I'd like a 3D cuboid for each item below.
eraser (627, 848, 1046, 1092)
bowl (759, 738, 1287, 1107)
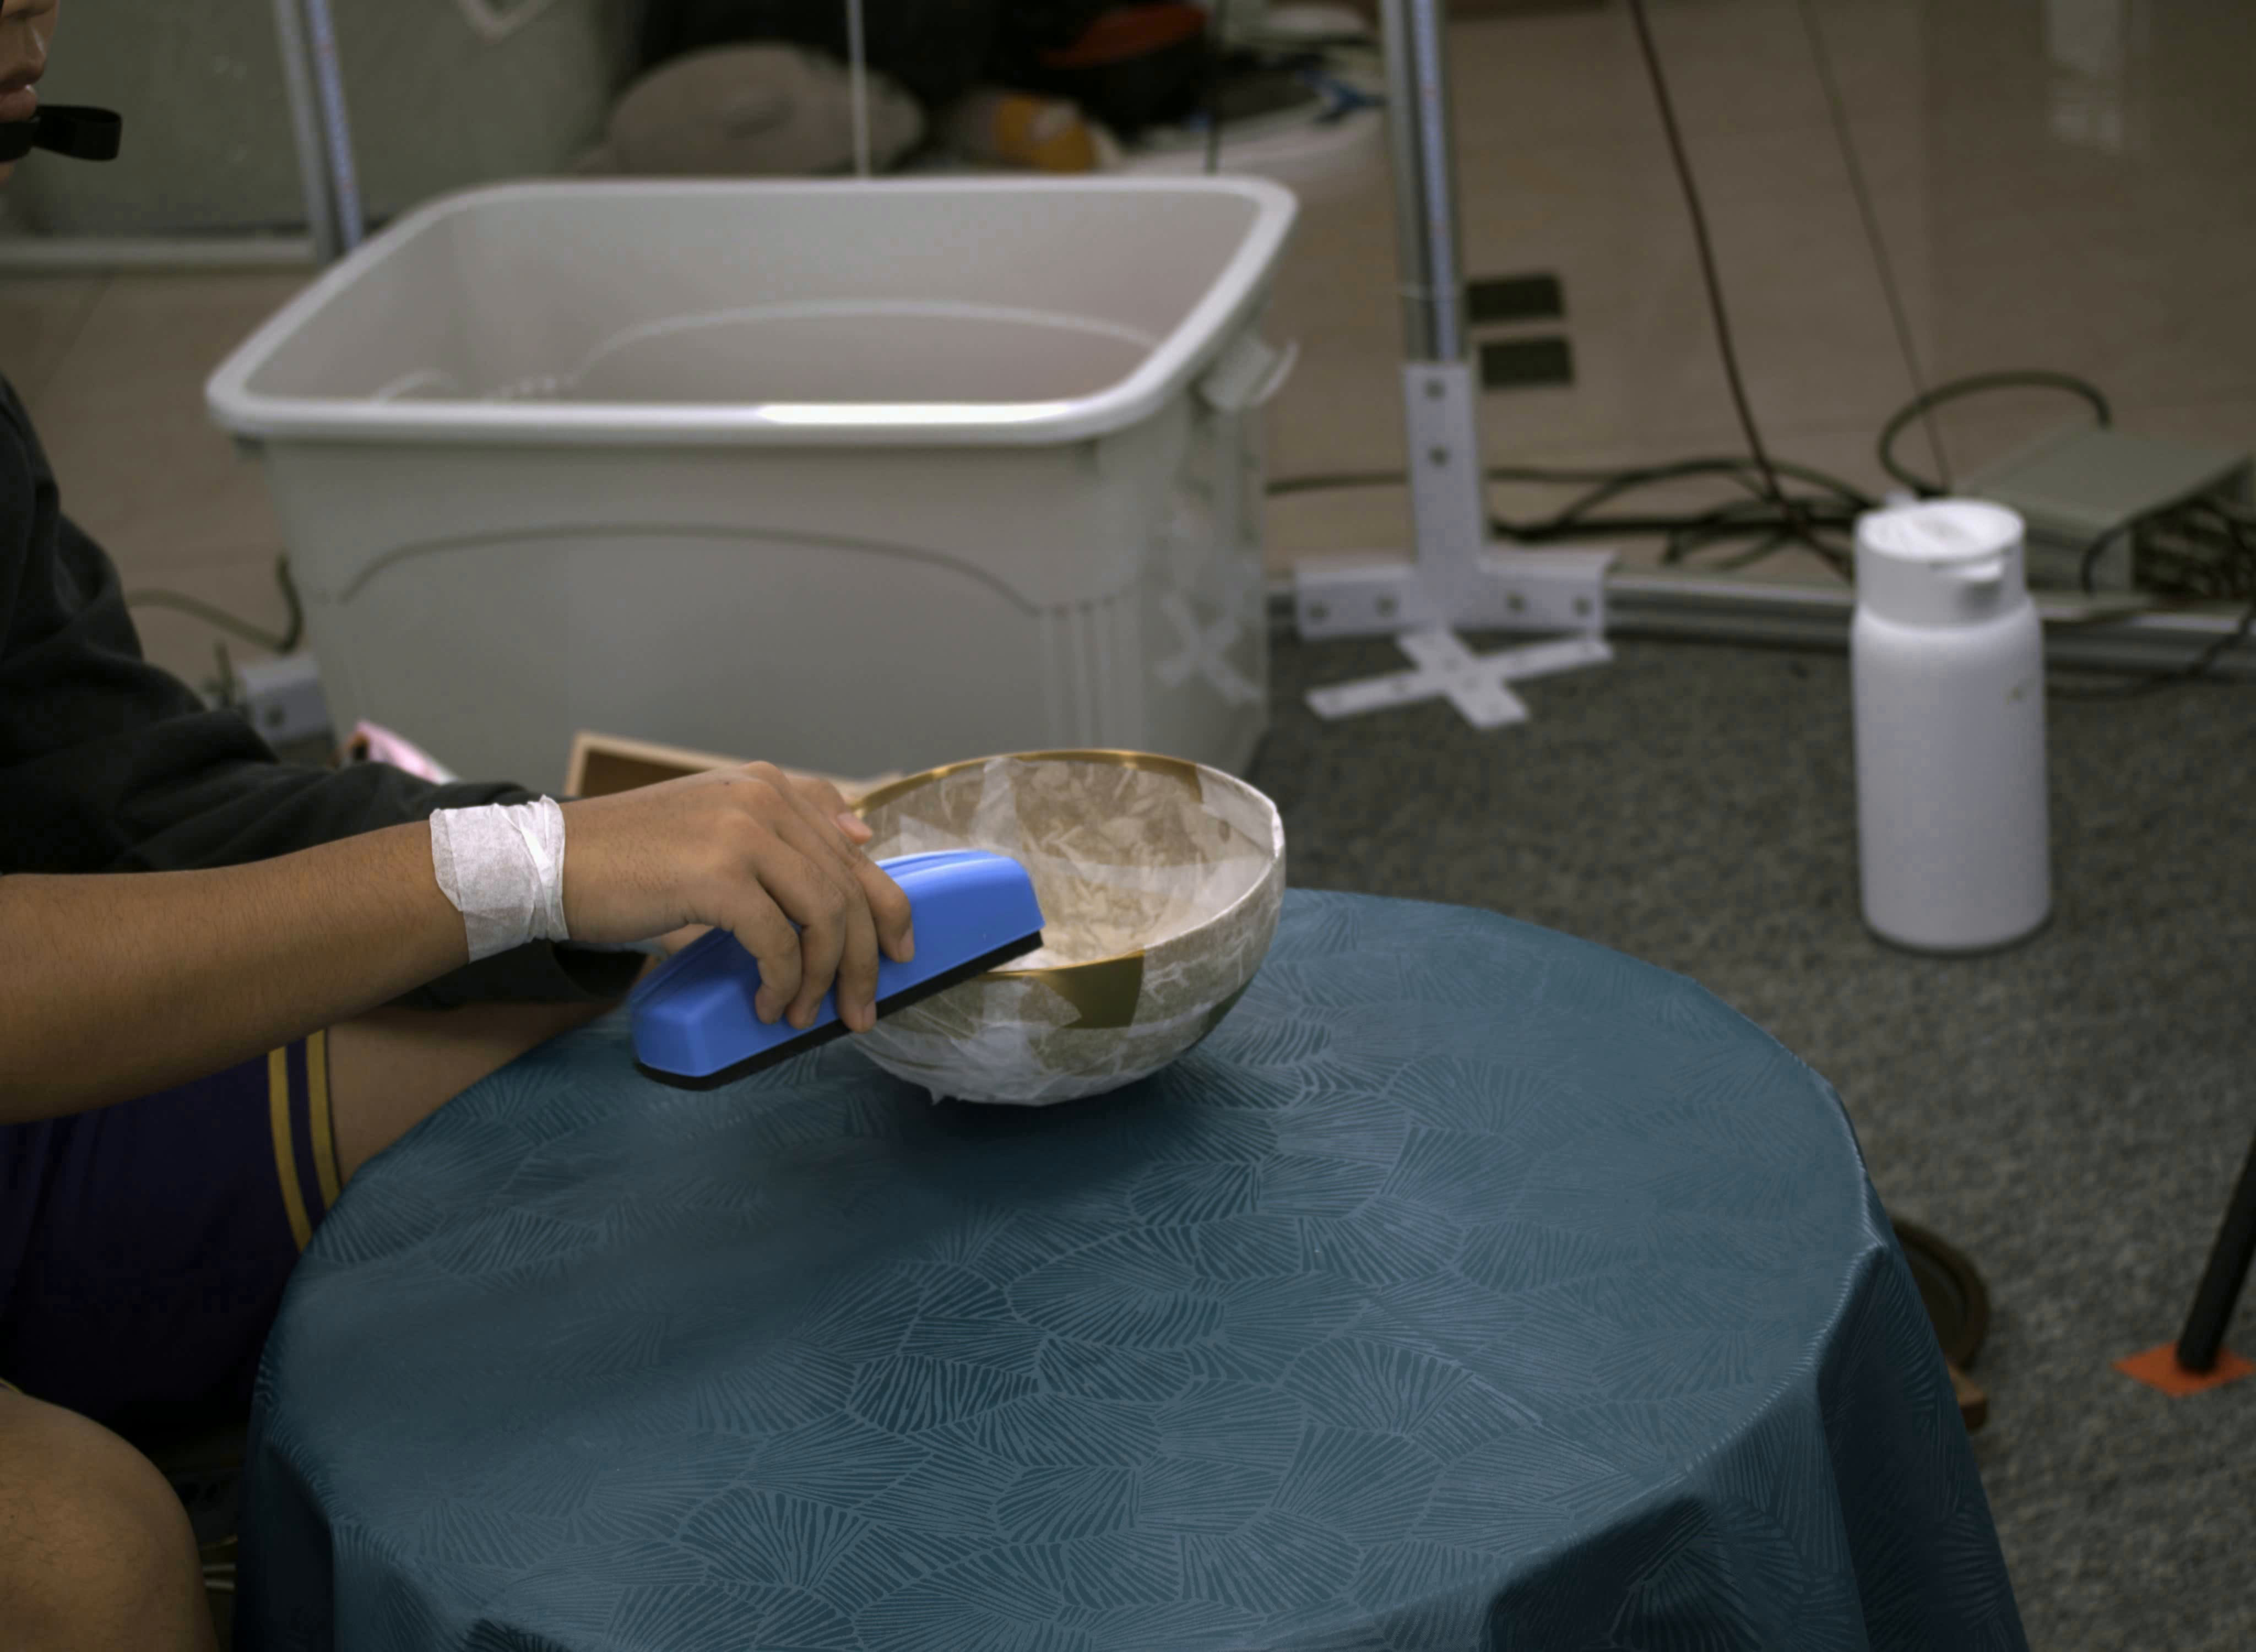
[{"bbox_3d":[-0.108,0.047,2.099,0.161,0.048,0.053,-24,25,-28],"label":"eraser"},{"bbox_3d":[-0.038,0.050,2.234,0.214,0.096,0.211,-5,27,3],"label":"bowl"}]
